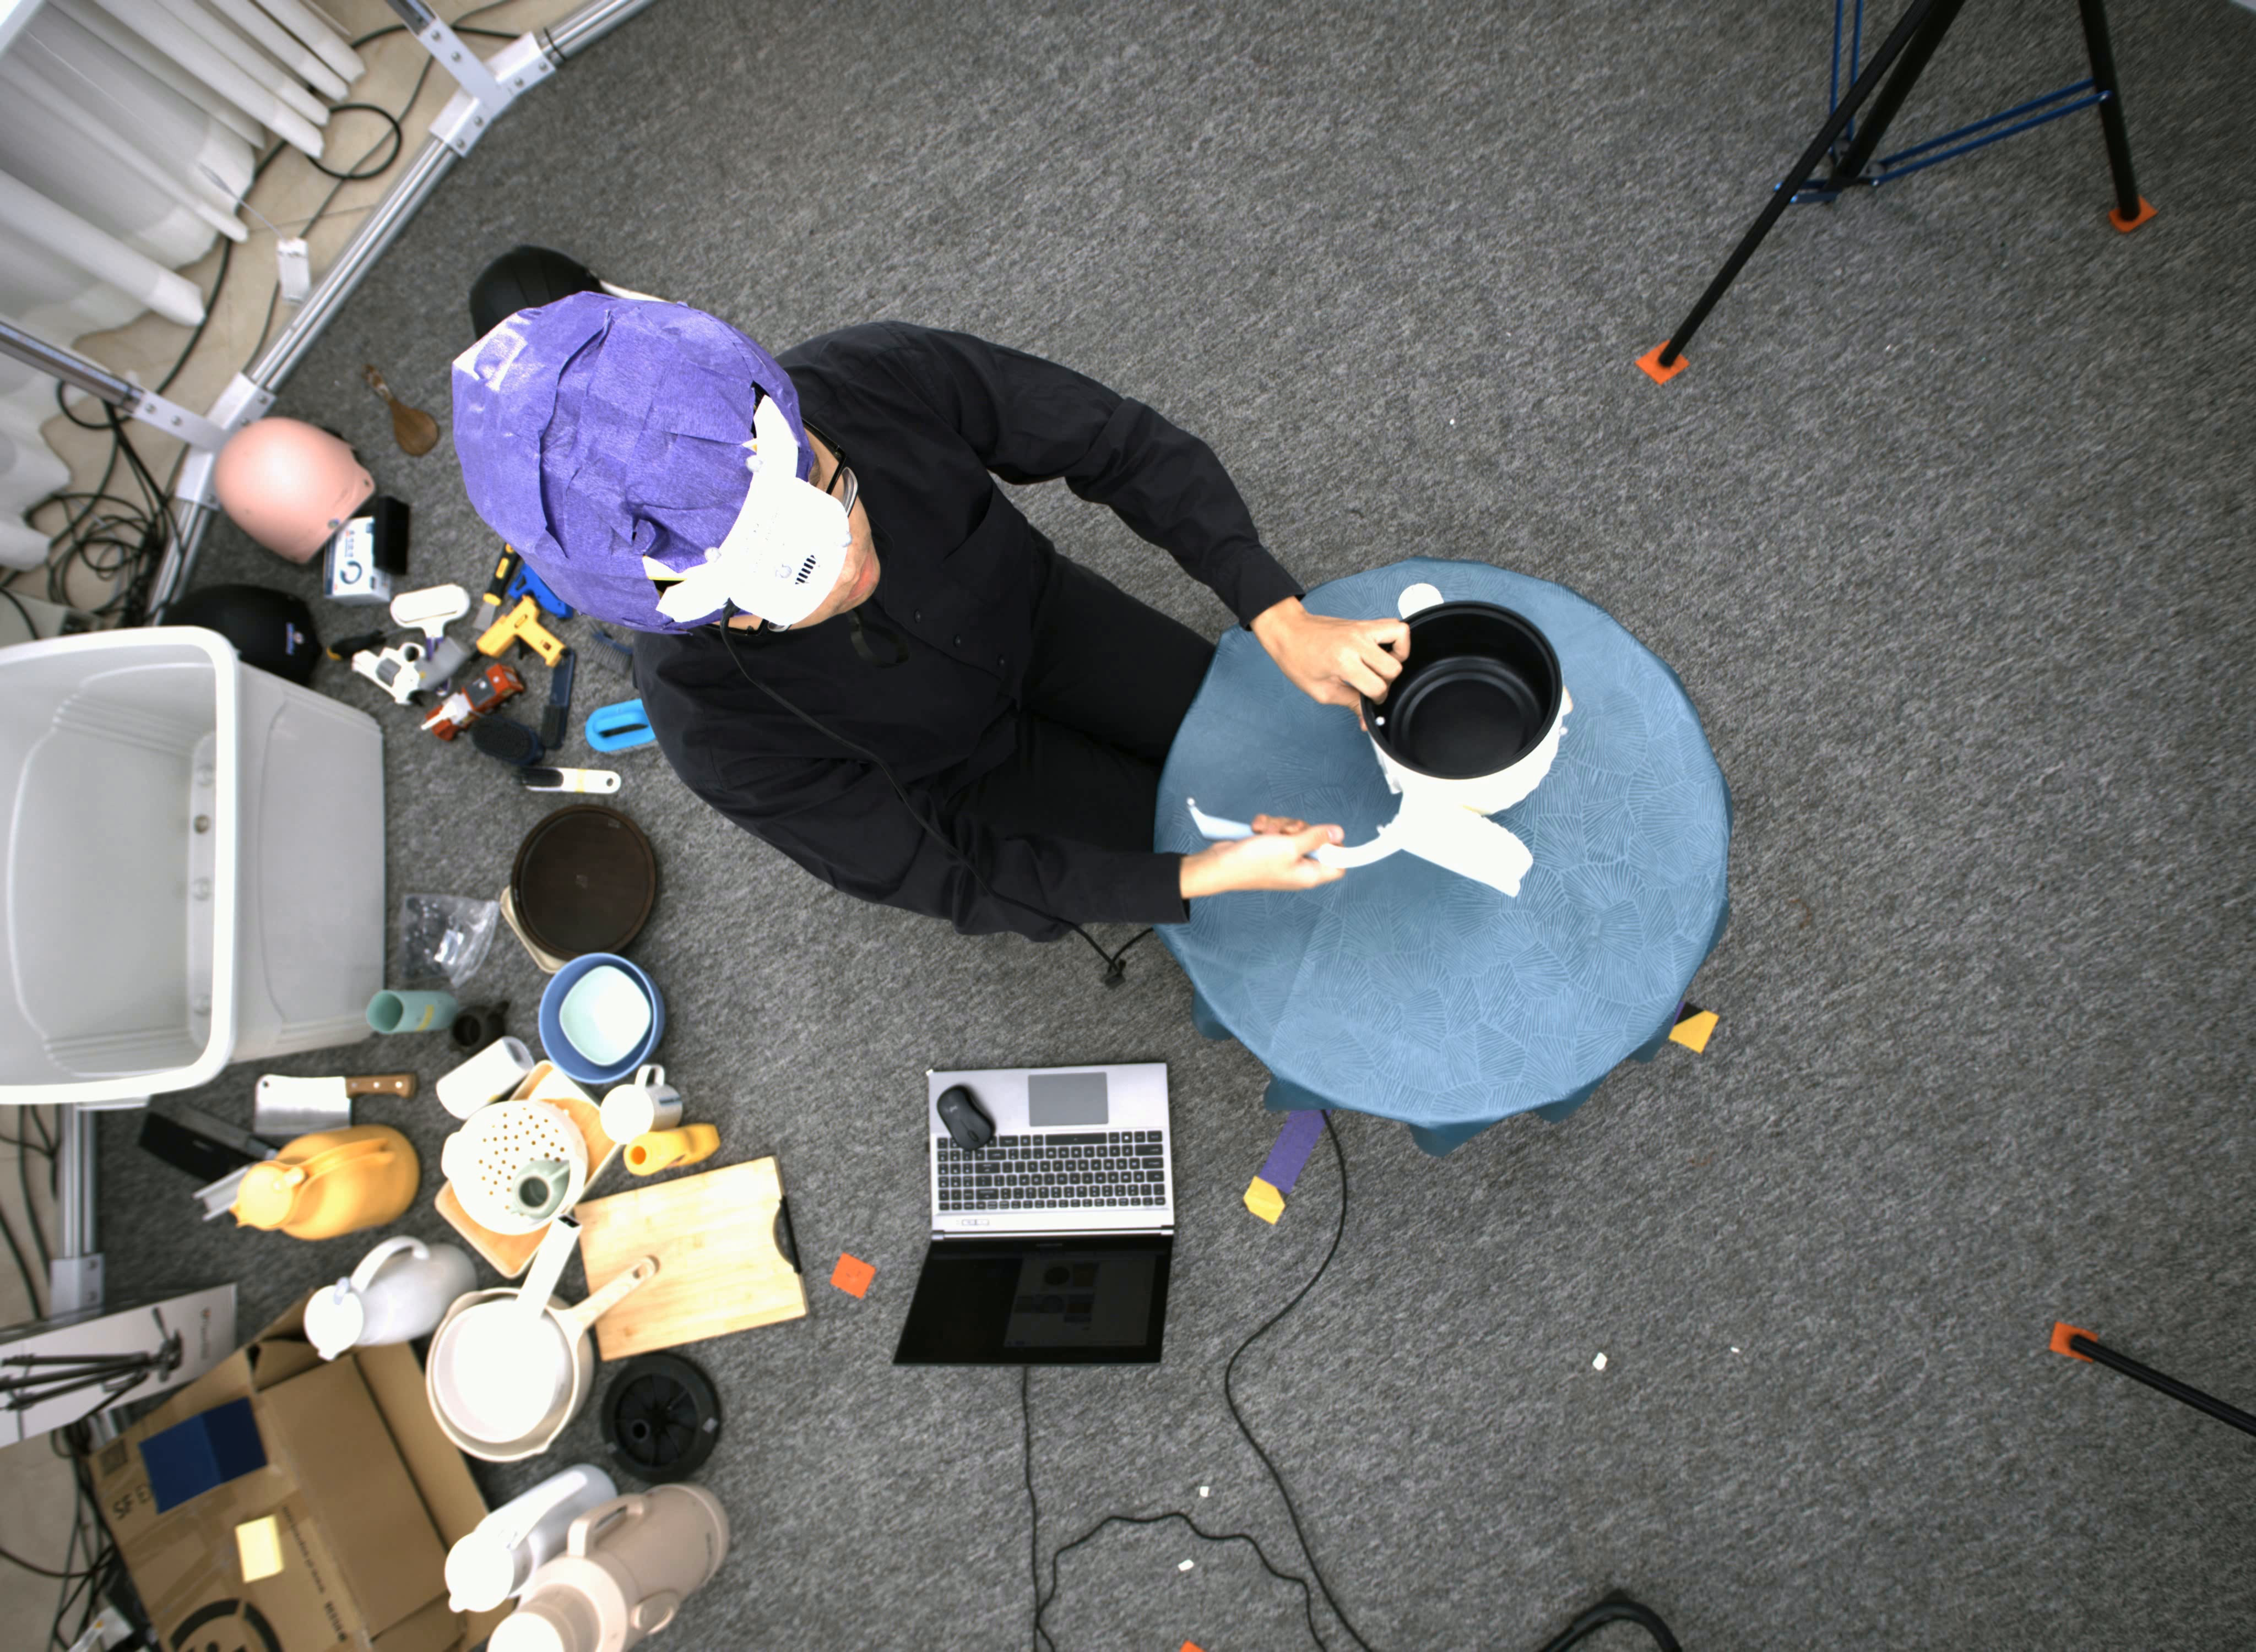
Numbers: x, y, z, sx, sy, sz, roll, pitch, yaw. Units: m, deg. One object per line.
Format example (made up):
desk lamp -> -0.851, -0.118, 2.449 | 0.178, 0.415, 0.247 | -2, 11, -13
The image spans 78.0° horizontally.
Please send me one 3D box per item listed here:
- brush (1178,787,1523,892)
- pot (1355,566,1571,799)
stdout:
brush -> 0.210, -0.011, 1.305 | 0.326, 0.082, 0.085 | 12, 130, 14
pot -> 0.322, -0.125, 1.296 | 0.192, 0.144, 0.236 | -25, 66, 12
